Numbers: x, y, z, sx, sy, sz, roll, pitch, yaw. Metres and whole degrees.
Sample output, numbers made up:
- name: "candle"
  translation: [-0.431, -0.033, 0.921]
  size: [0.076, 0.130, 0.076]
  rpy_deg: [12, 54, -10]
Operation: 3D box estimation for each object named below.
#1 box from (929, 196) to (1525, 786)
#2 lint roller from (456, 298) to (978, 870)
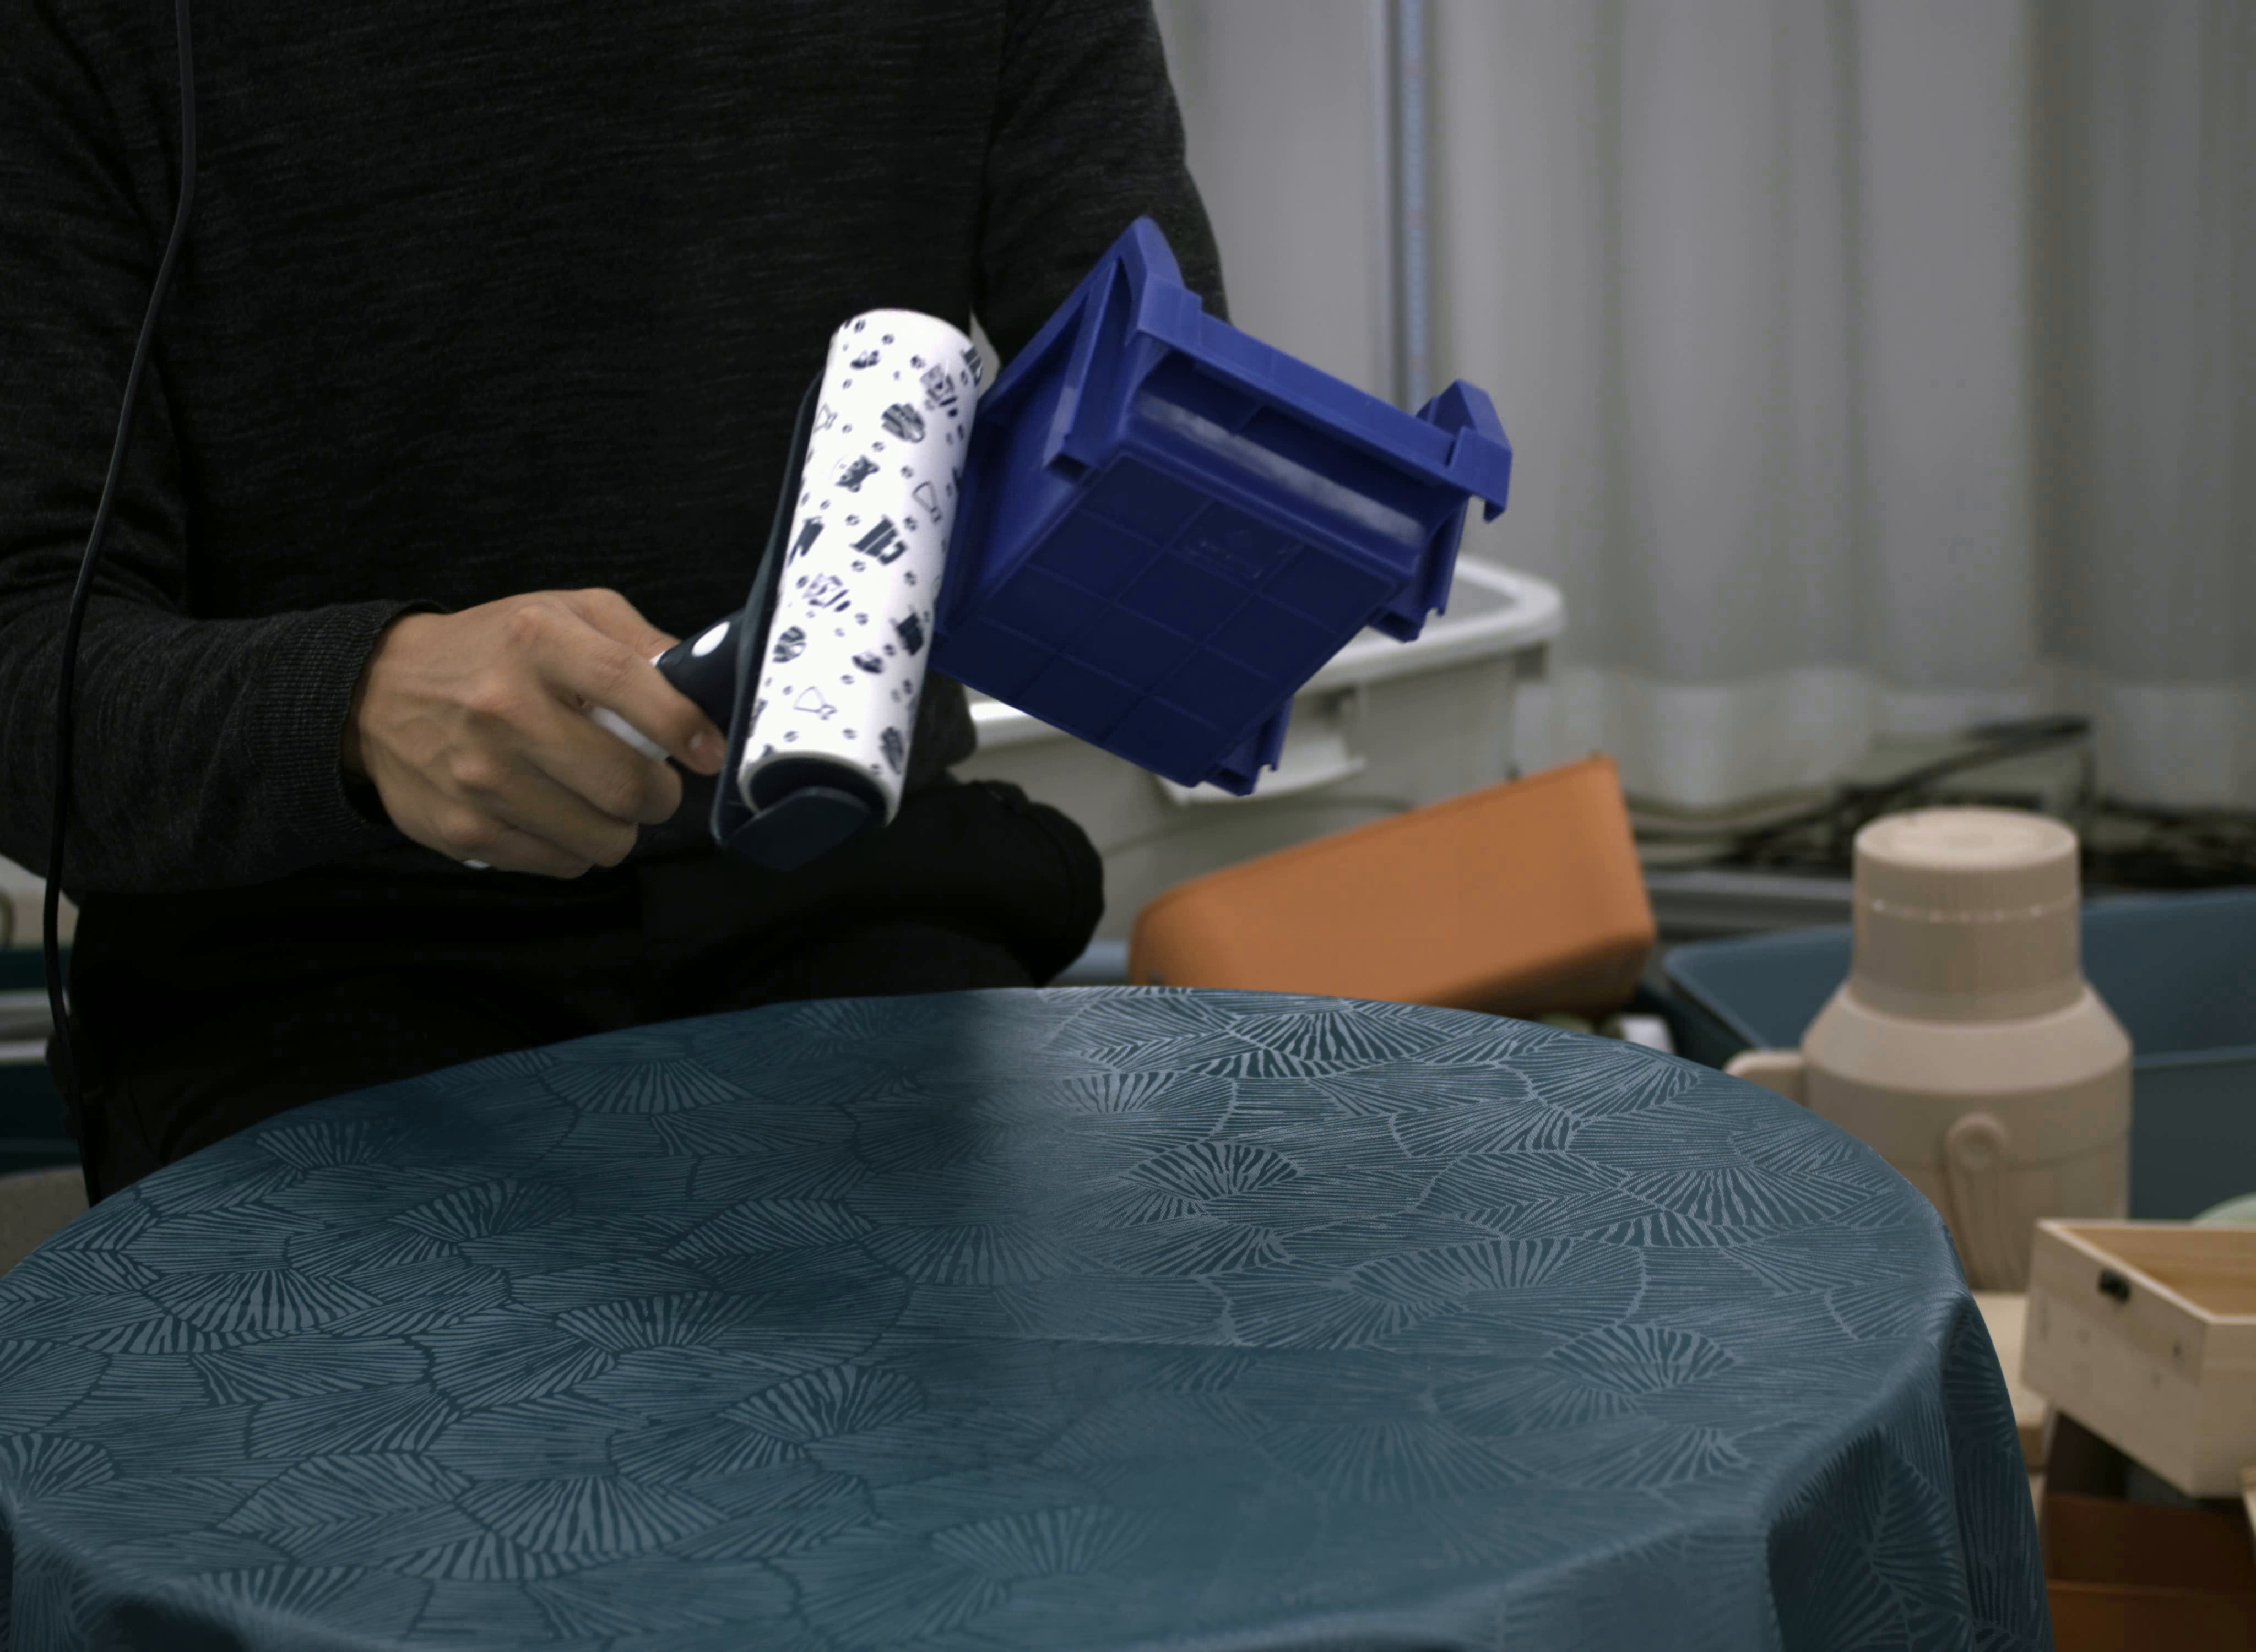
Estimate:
- name: "box"
  translation: [0.026, -0.098, 1.608]
  size: [0.123, 0.178, 0.083]
  rpy_deg: [26, 52, -14]
- name: "lint roller"
  translation: [-0.139, -0.041, 1.671]
  size: [0.050, 0.179, 0.246]
  rpy_deg: [29, -38, -30]
